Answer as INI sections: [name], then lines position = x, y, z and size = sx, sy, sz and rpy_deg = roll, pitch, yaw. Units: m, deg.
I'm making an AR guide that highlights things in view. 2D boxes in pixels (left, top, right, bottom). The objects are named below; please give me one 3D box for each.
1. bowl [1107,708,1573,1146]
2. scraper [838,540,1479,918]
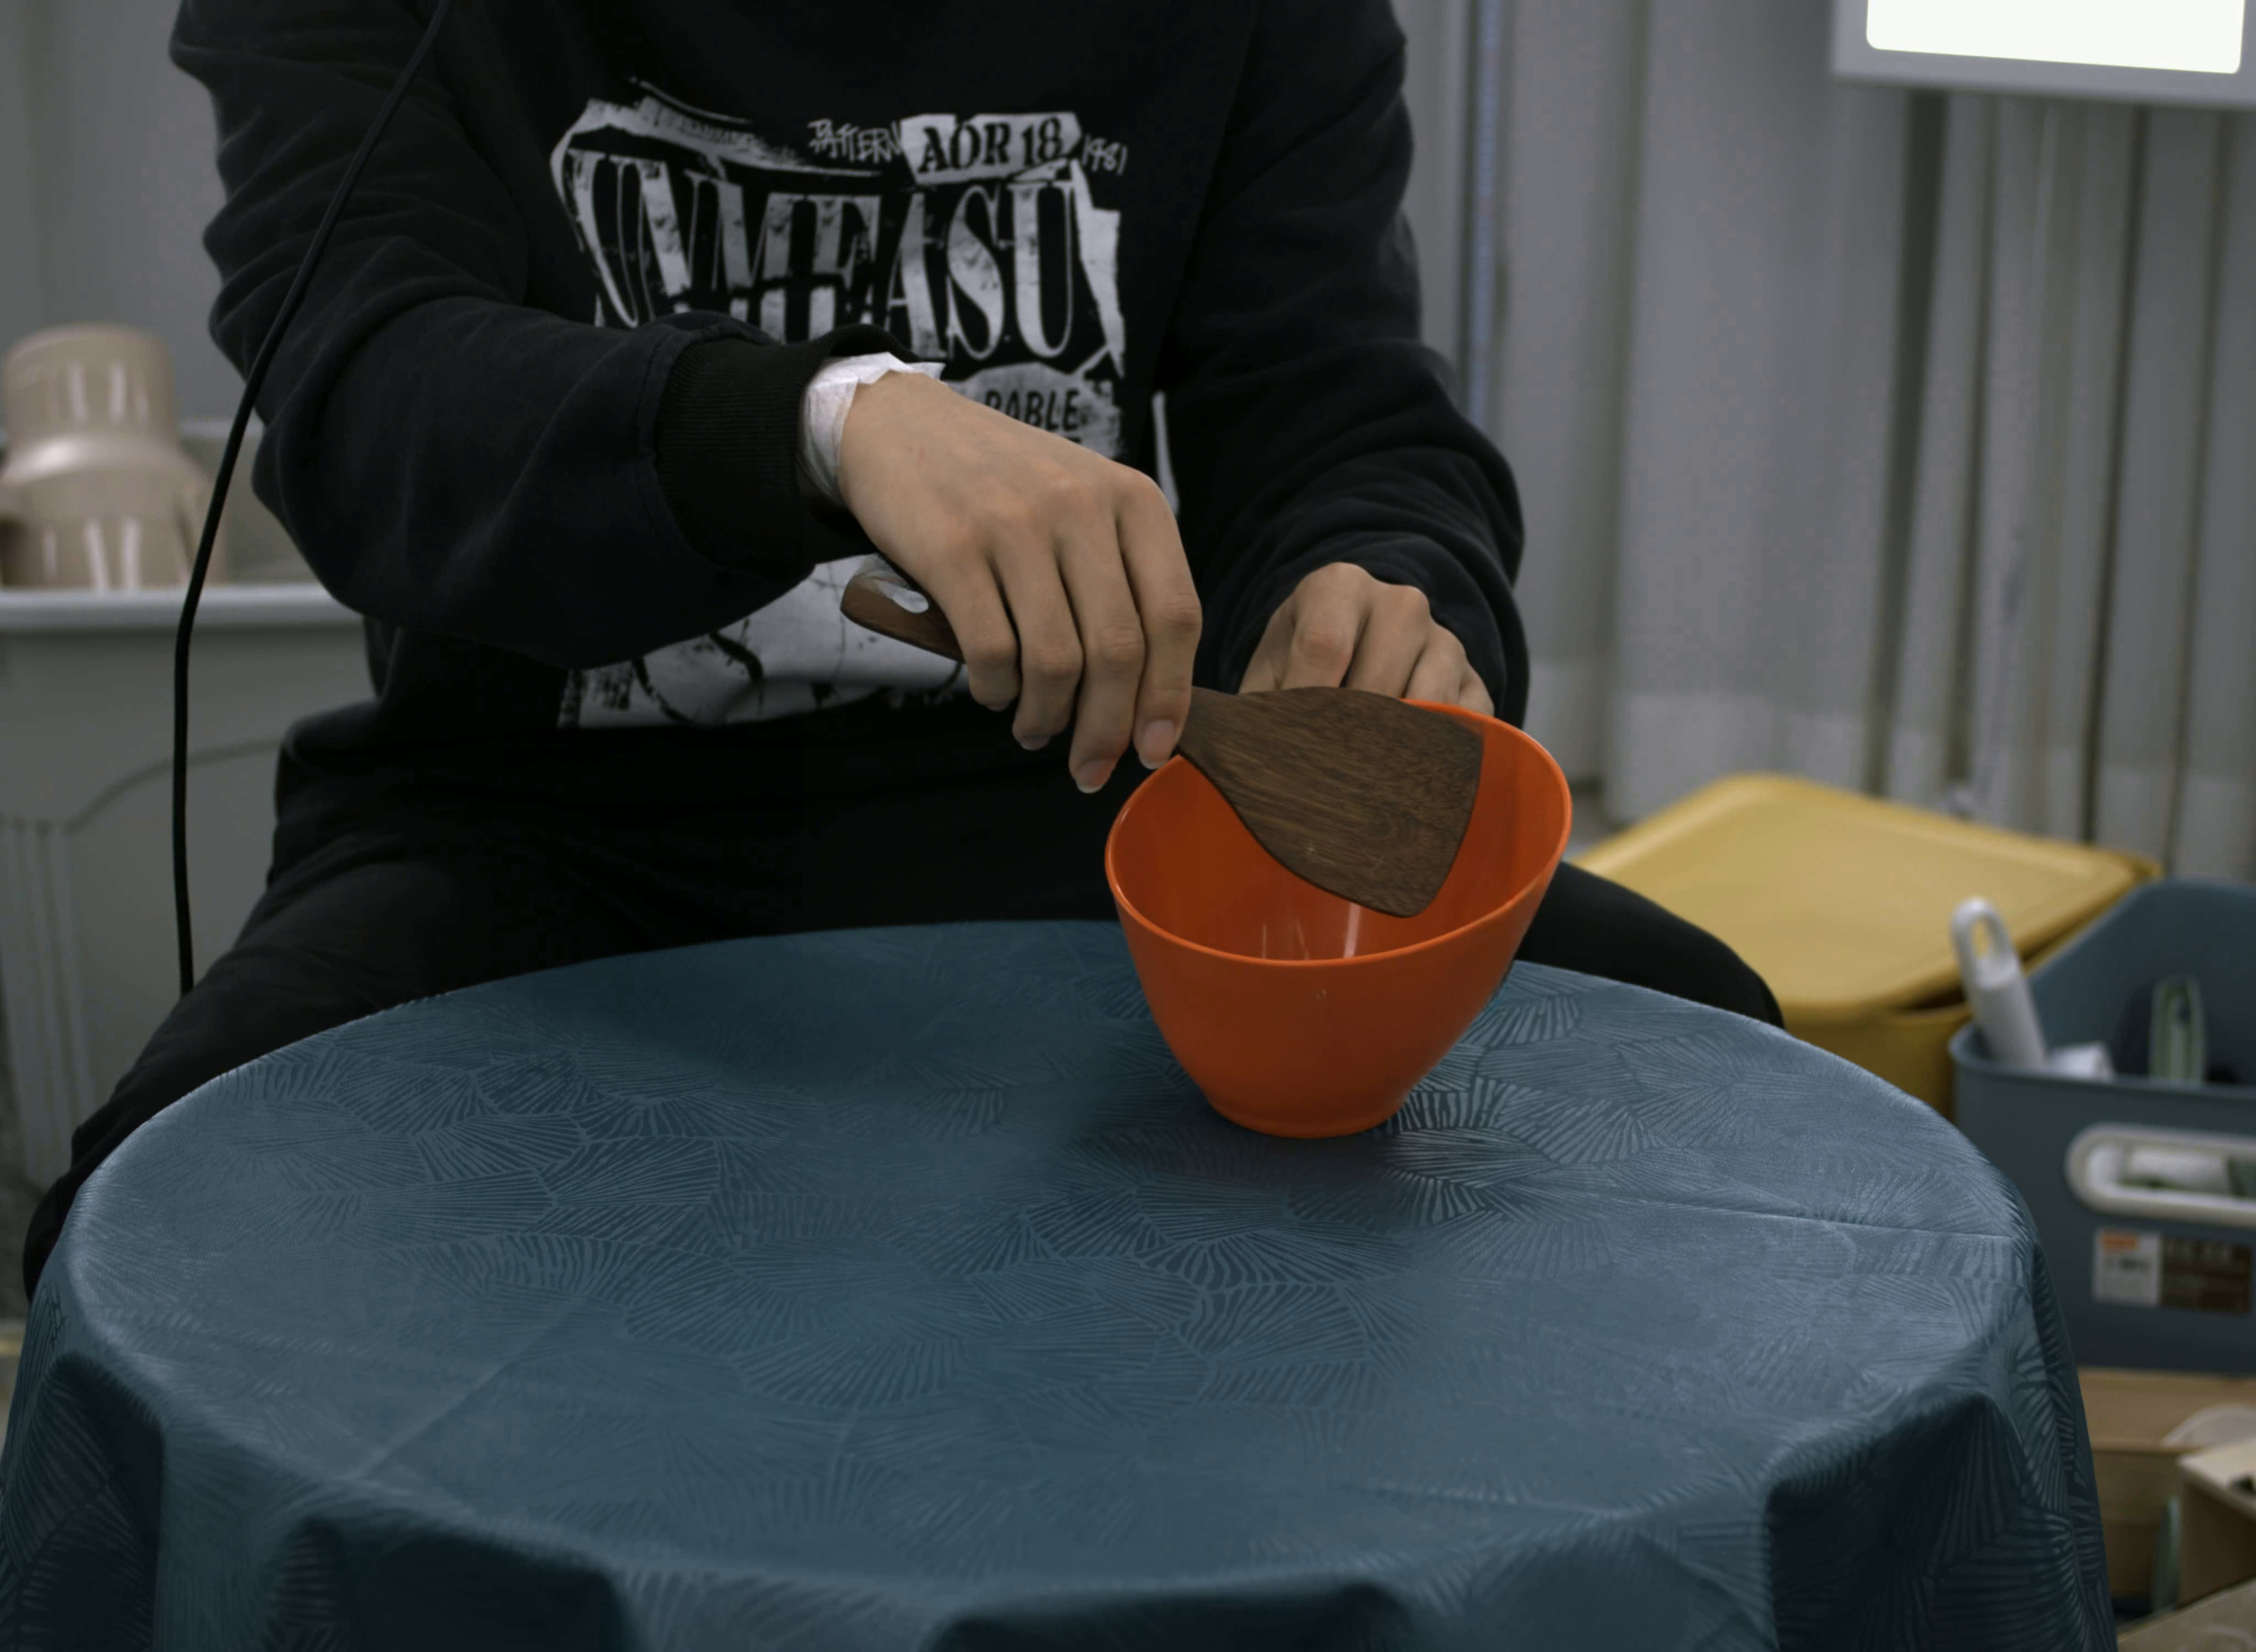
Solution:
[bowl]
position = 0.067, 0.038, 1.683
size = 0.147, 0.106, 0.147
rpy_deg = 1, 29, 0
[scraper]
position = 0.008, -0.039, 1.656
size = 0.211, 0.075, 0.011
rpy_deg = 24, -25, -4
